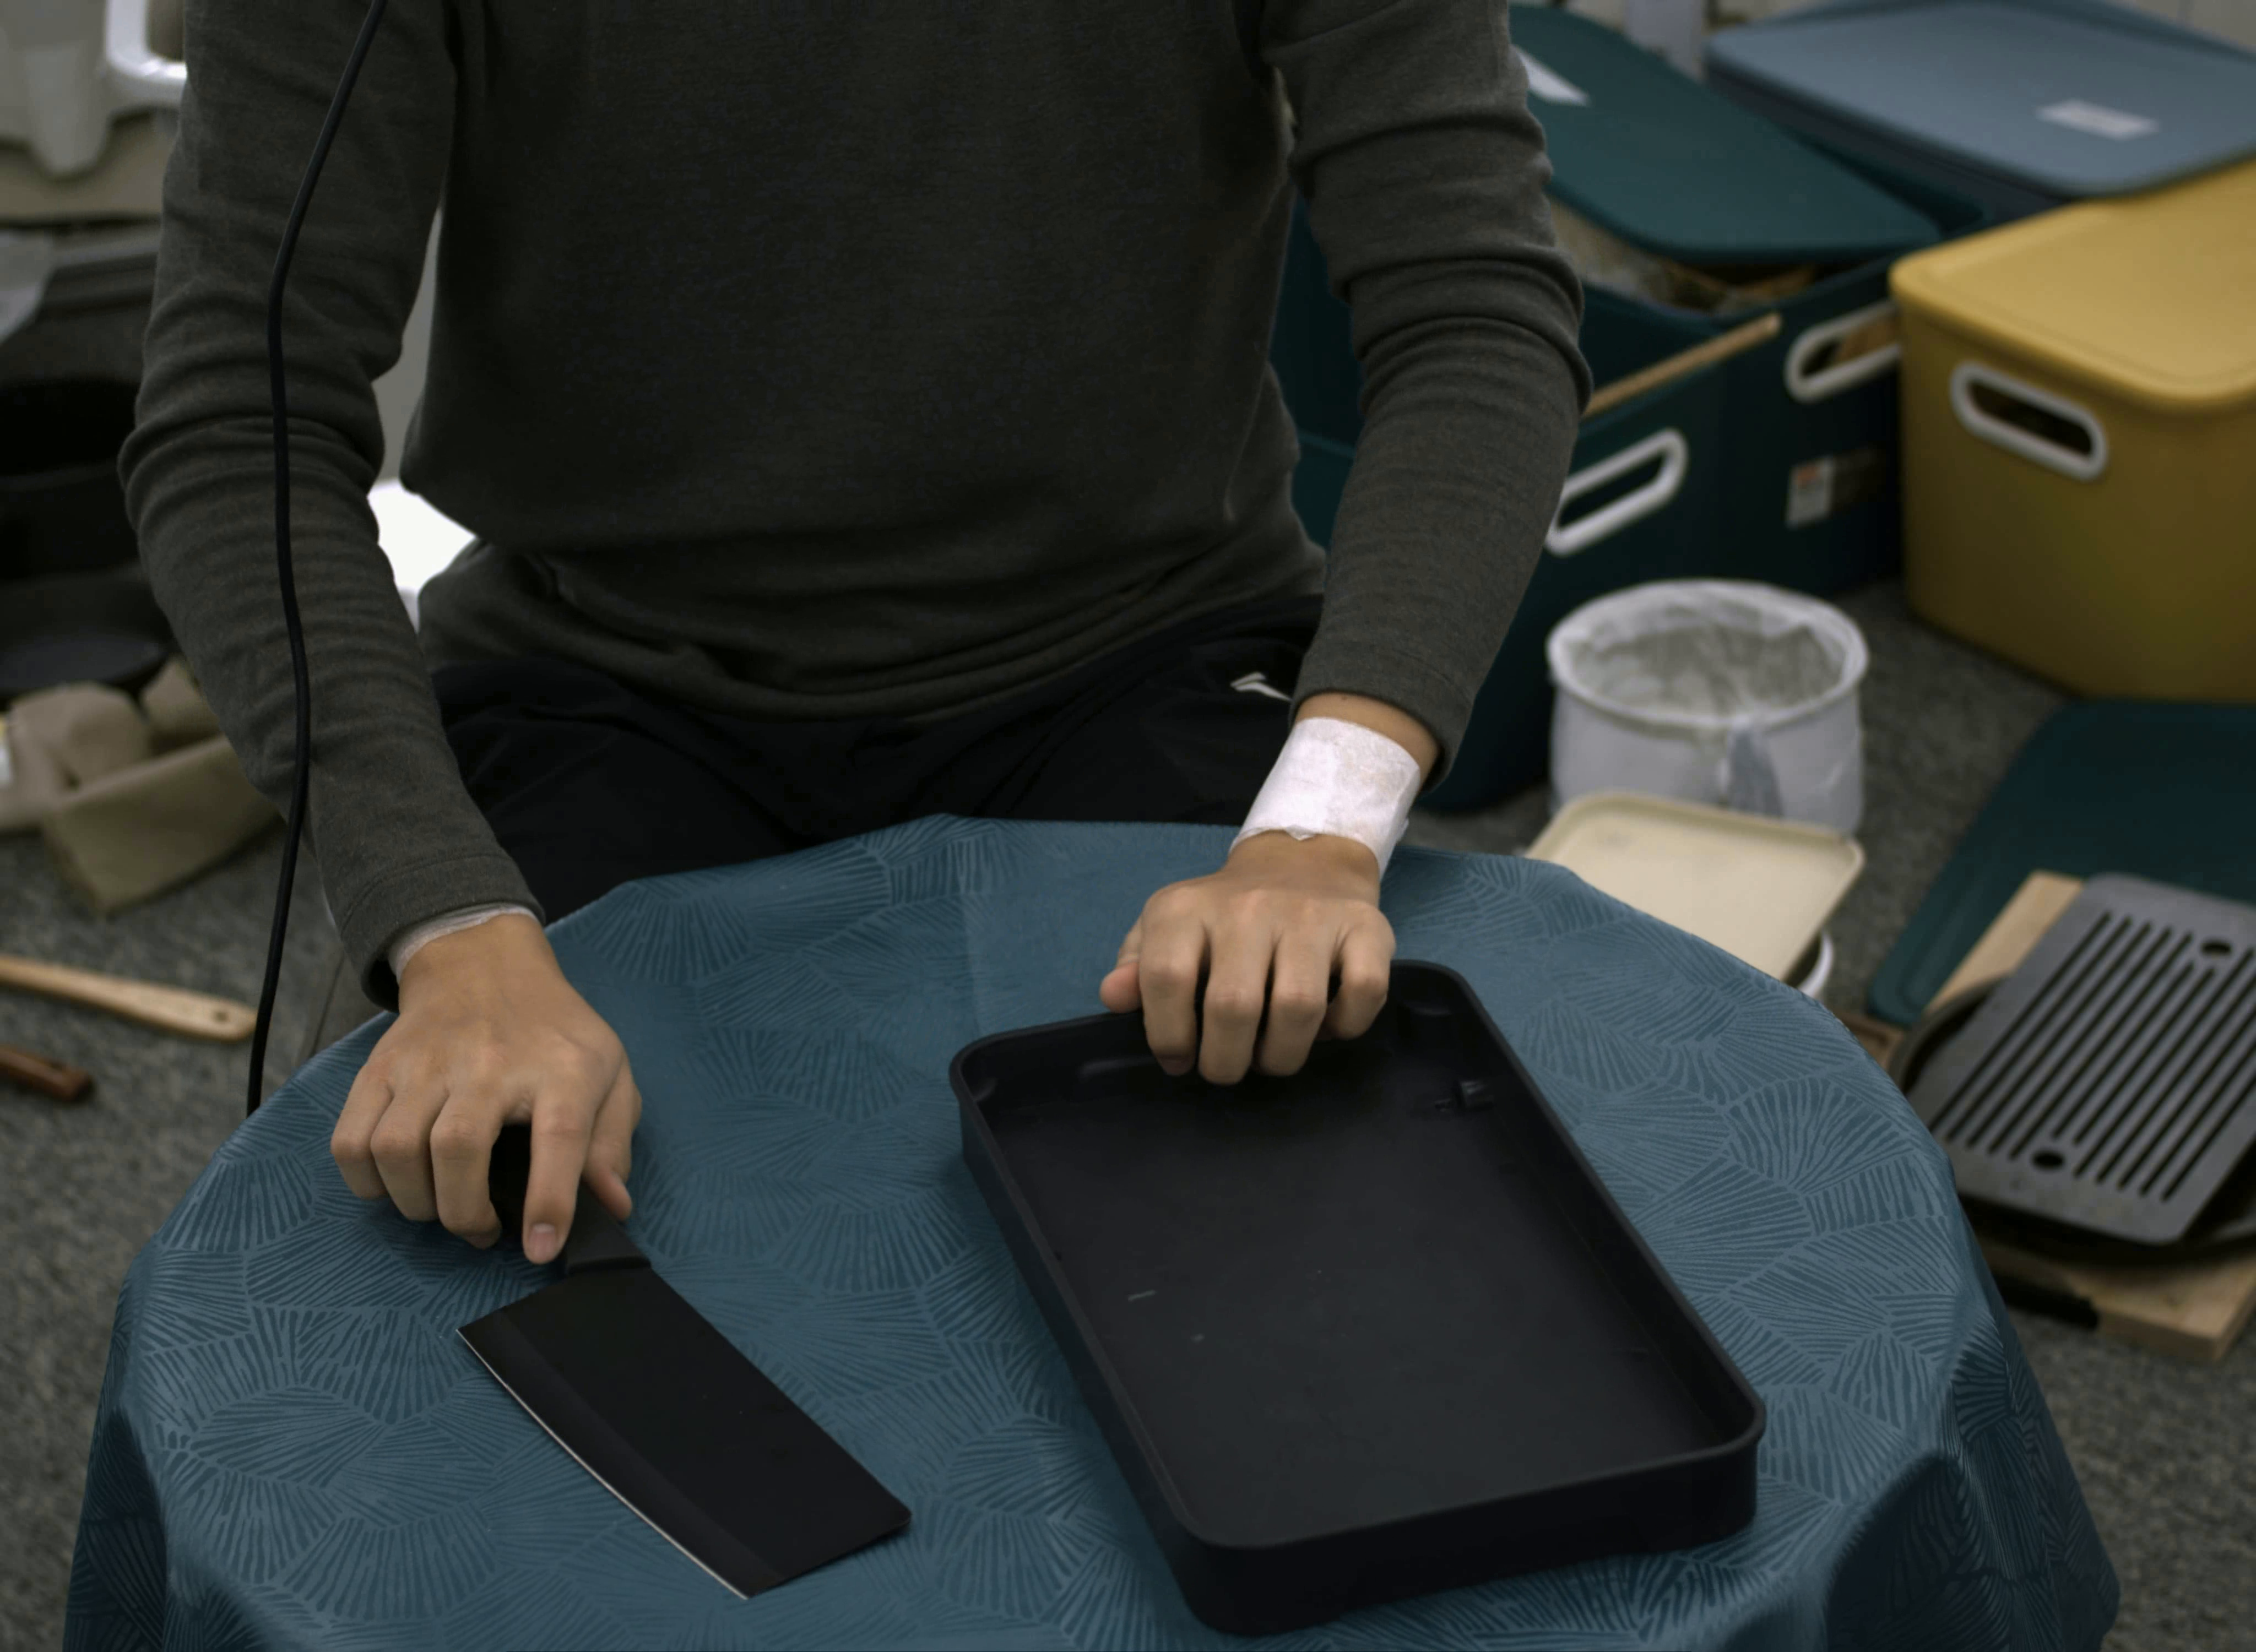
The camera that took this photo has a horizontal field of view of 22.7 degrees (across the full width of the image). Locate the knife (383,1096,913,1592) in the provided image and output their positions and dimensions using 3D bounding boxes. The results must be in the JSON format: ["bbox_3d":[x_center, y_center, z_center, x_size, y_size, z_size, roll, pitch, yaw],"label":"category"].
[{"bbox_3d":[-0.168,0.161,1.788,0.081,0.020,0.304,-19,33,-22],"label":"knife"}]

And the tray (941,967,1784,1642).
[{"bbox_3d":[0.066,0.144,1.774,0.184,0.036,0.321,-10,28,-14],"label":"tray"}]
